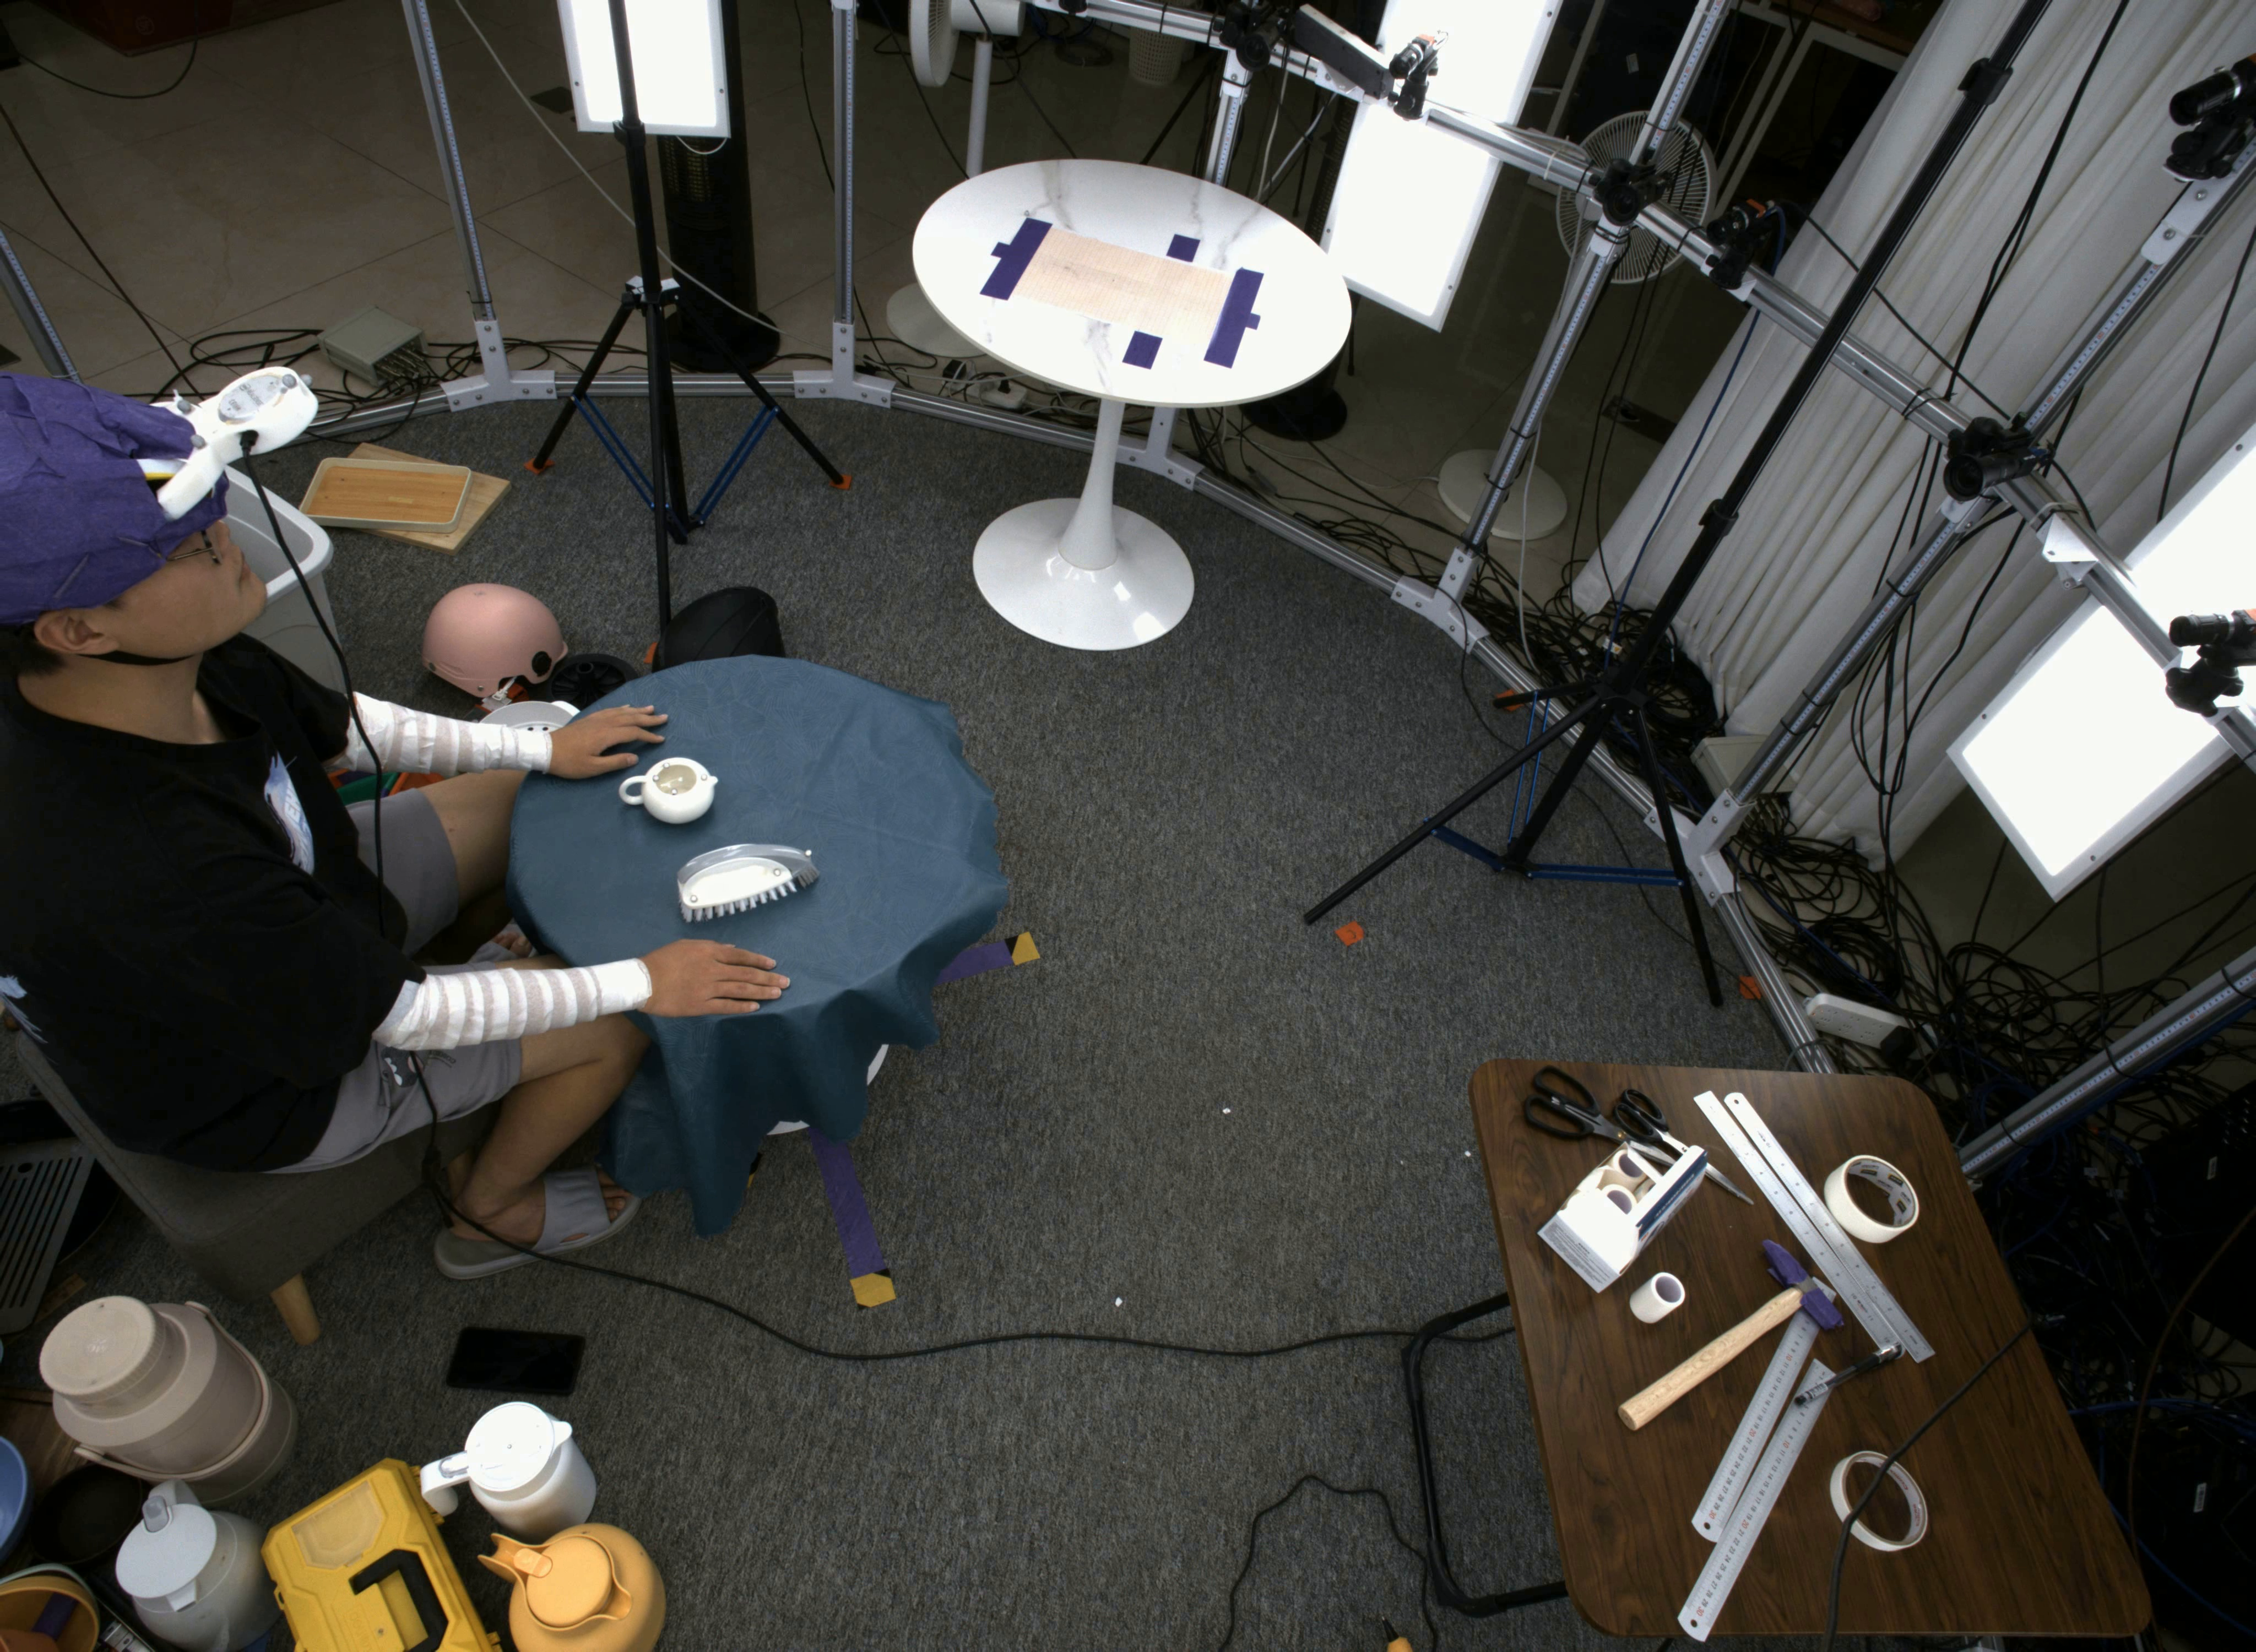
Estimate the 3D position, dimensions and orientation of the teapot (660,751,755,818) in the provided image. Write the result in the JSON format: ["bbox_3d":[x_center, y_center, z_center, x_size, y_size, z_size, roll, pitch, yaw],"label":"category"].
[{"bbox_3d":[-0.557,-0.056,1.708,0.127,0.058,0.092,0,57,-12],"label":"teapot"}]

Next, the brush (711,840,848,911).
[{"bbox_3d":[-0.439,0.048,1.637,0.176,0.096,0.060,-10,58,-22],"label":"brush"}]
